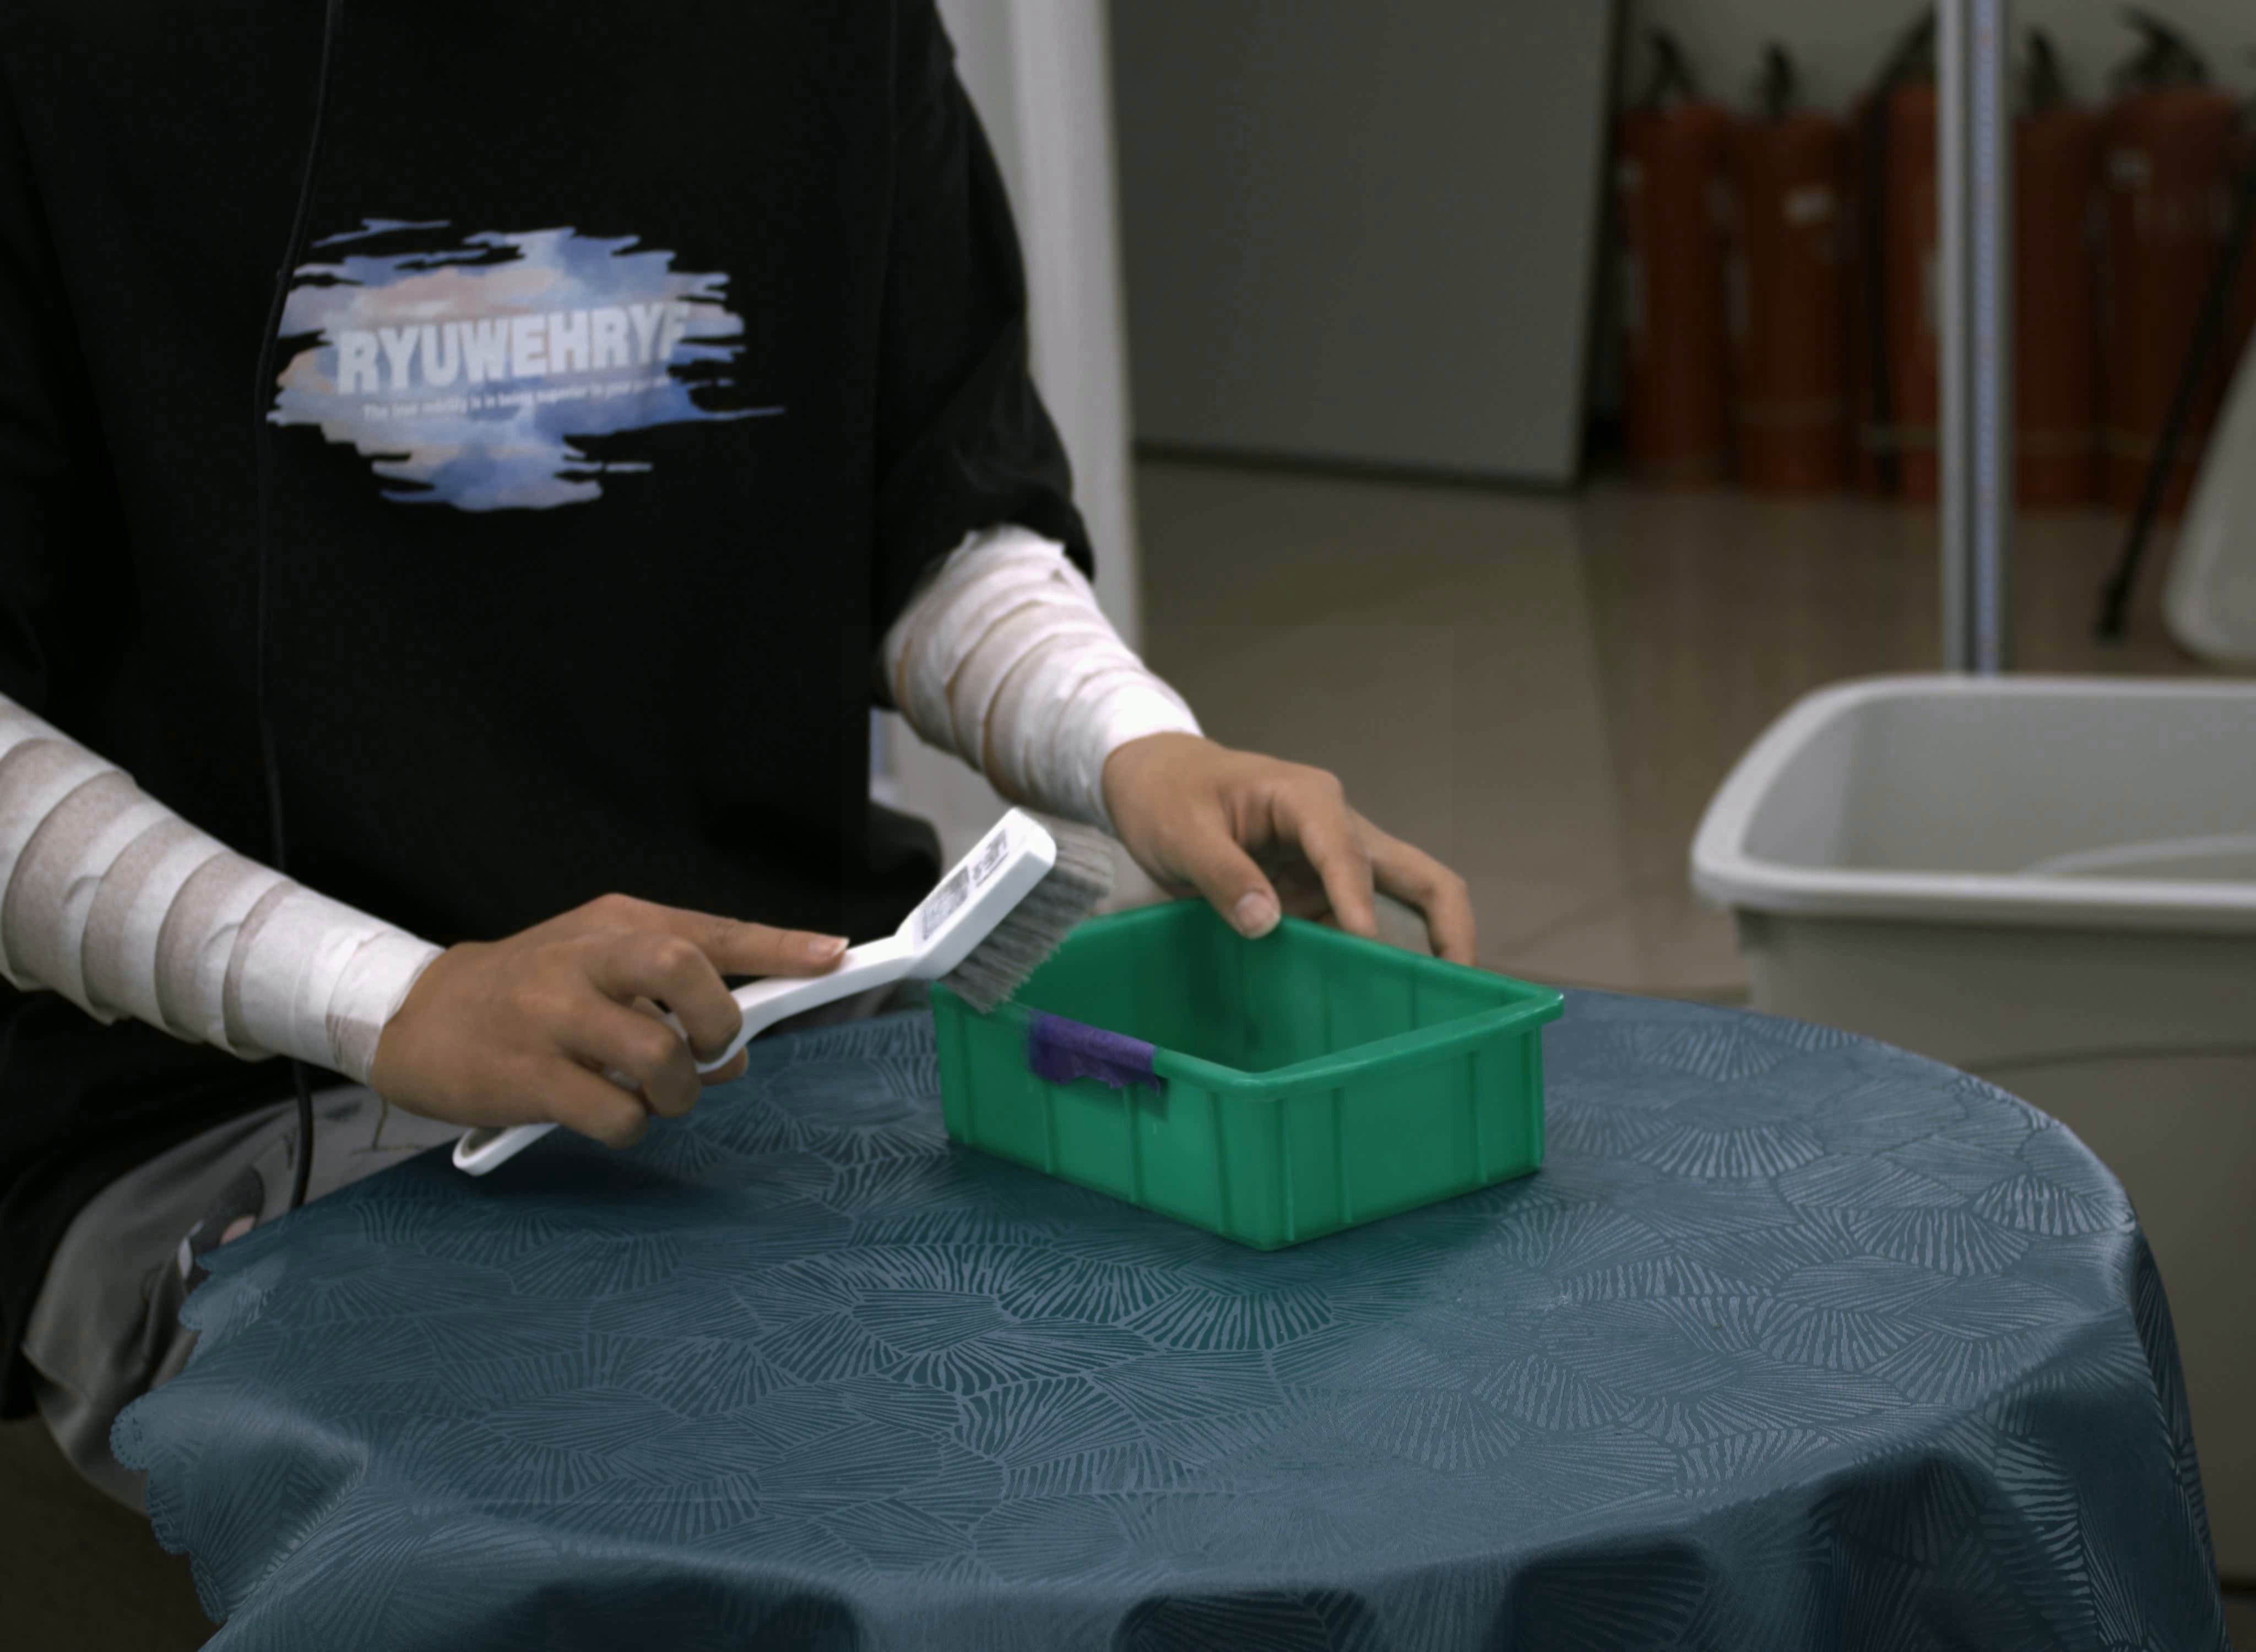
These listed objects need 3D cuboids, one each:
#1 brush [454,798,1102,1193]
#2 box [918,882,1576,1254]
[{"bbox_3d":[-0.114,0.069,1.795,0.243,0.050,0.034,-32,31,12],"label":"brush"},{"bbox_3d":[0.040,0.080,1.795,0.136,0.066,0.213,-18,21,-34],"label":"box"}]
